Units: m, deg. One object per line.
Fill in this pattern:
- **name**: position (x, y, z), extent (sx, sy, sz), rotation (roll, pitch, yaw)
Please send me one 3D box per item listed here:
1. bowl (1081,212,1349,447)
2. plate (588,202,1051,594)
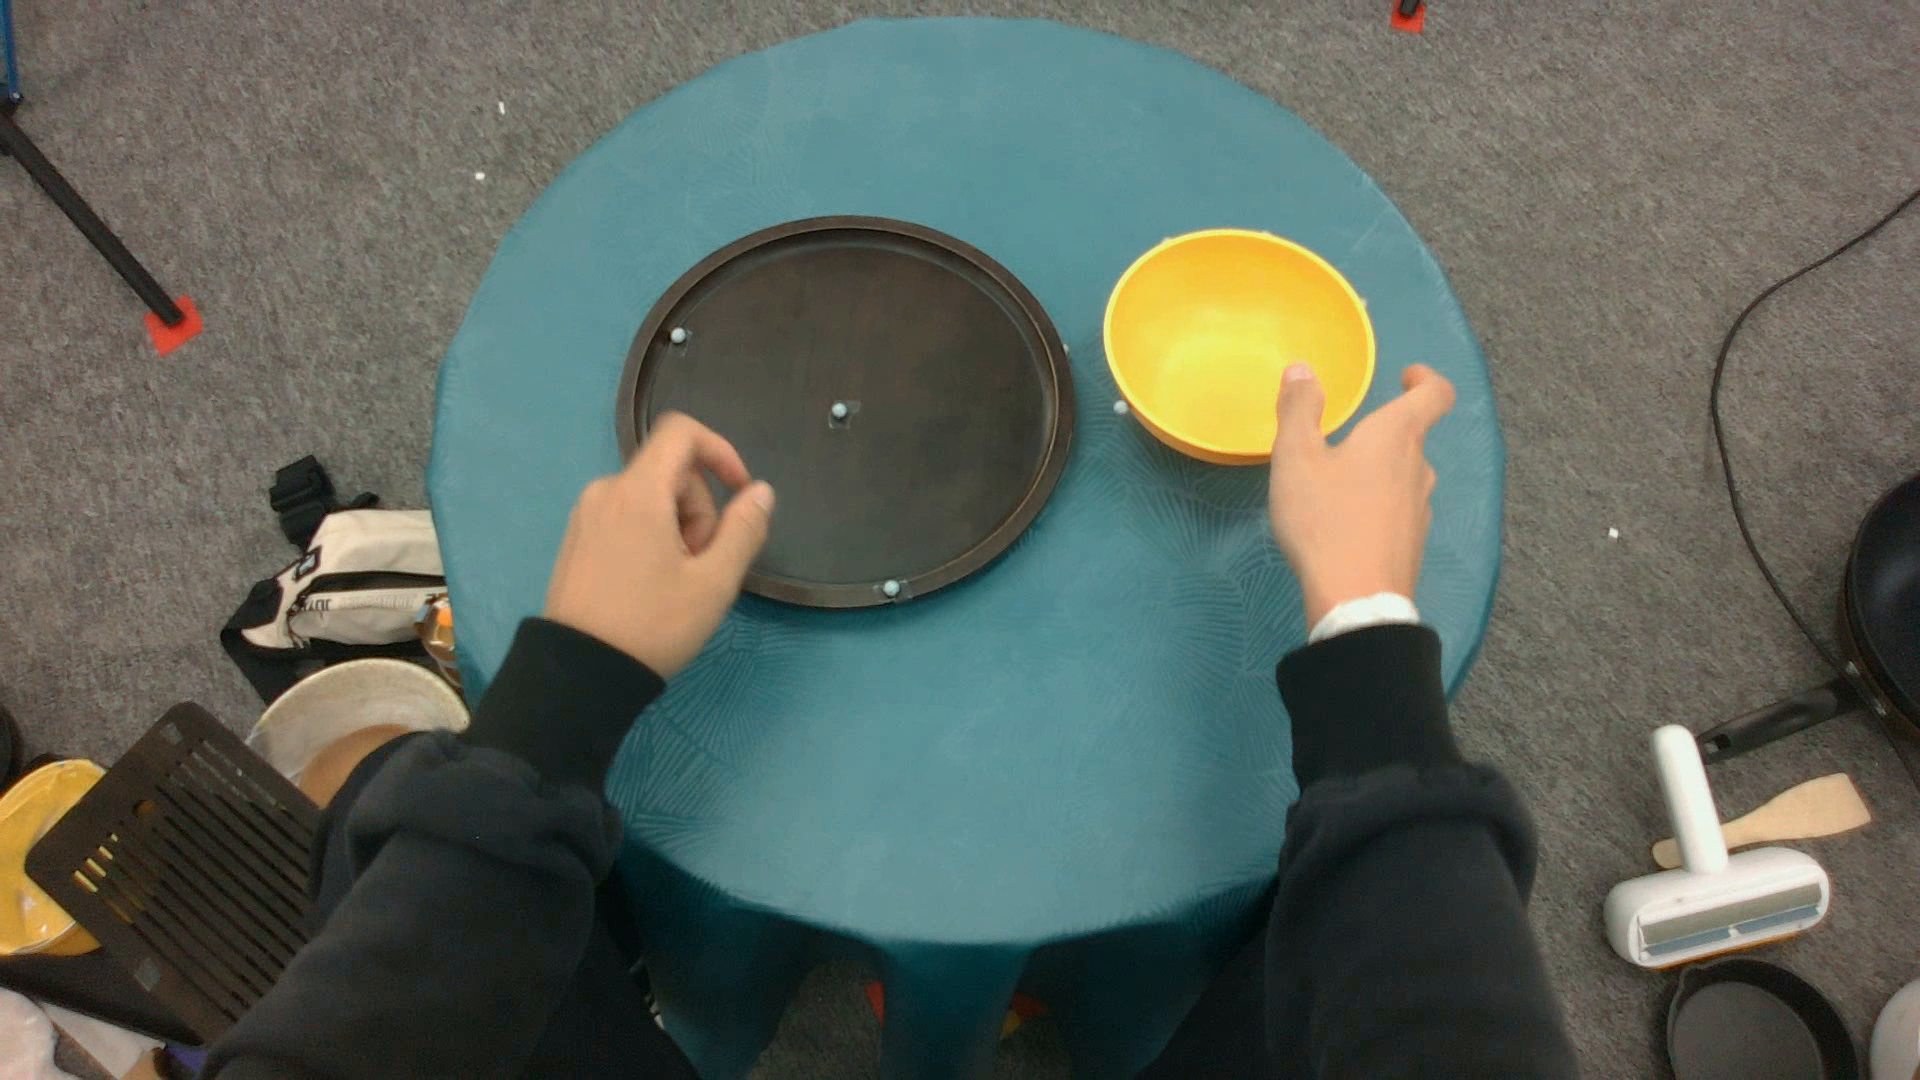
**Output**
- **bowl**: position (0.137, -0.107, 0.767), extent (0.145, 0.060, 0.146), rotation (0, 66, 0)
- **plate**: position (-0.076, -0.084, 0.764), extent (0.255, 0.029, 0.255), rotation (2, 65, -4)
